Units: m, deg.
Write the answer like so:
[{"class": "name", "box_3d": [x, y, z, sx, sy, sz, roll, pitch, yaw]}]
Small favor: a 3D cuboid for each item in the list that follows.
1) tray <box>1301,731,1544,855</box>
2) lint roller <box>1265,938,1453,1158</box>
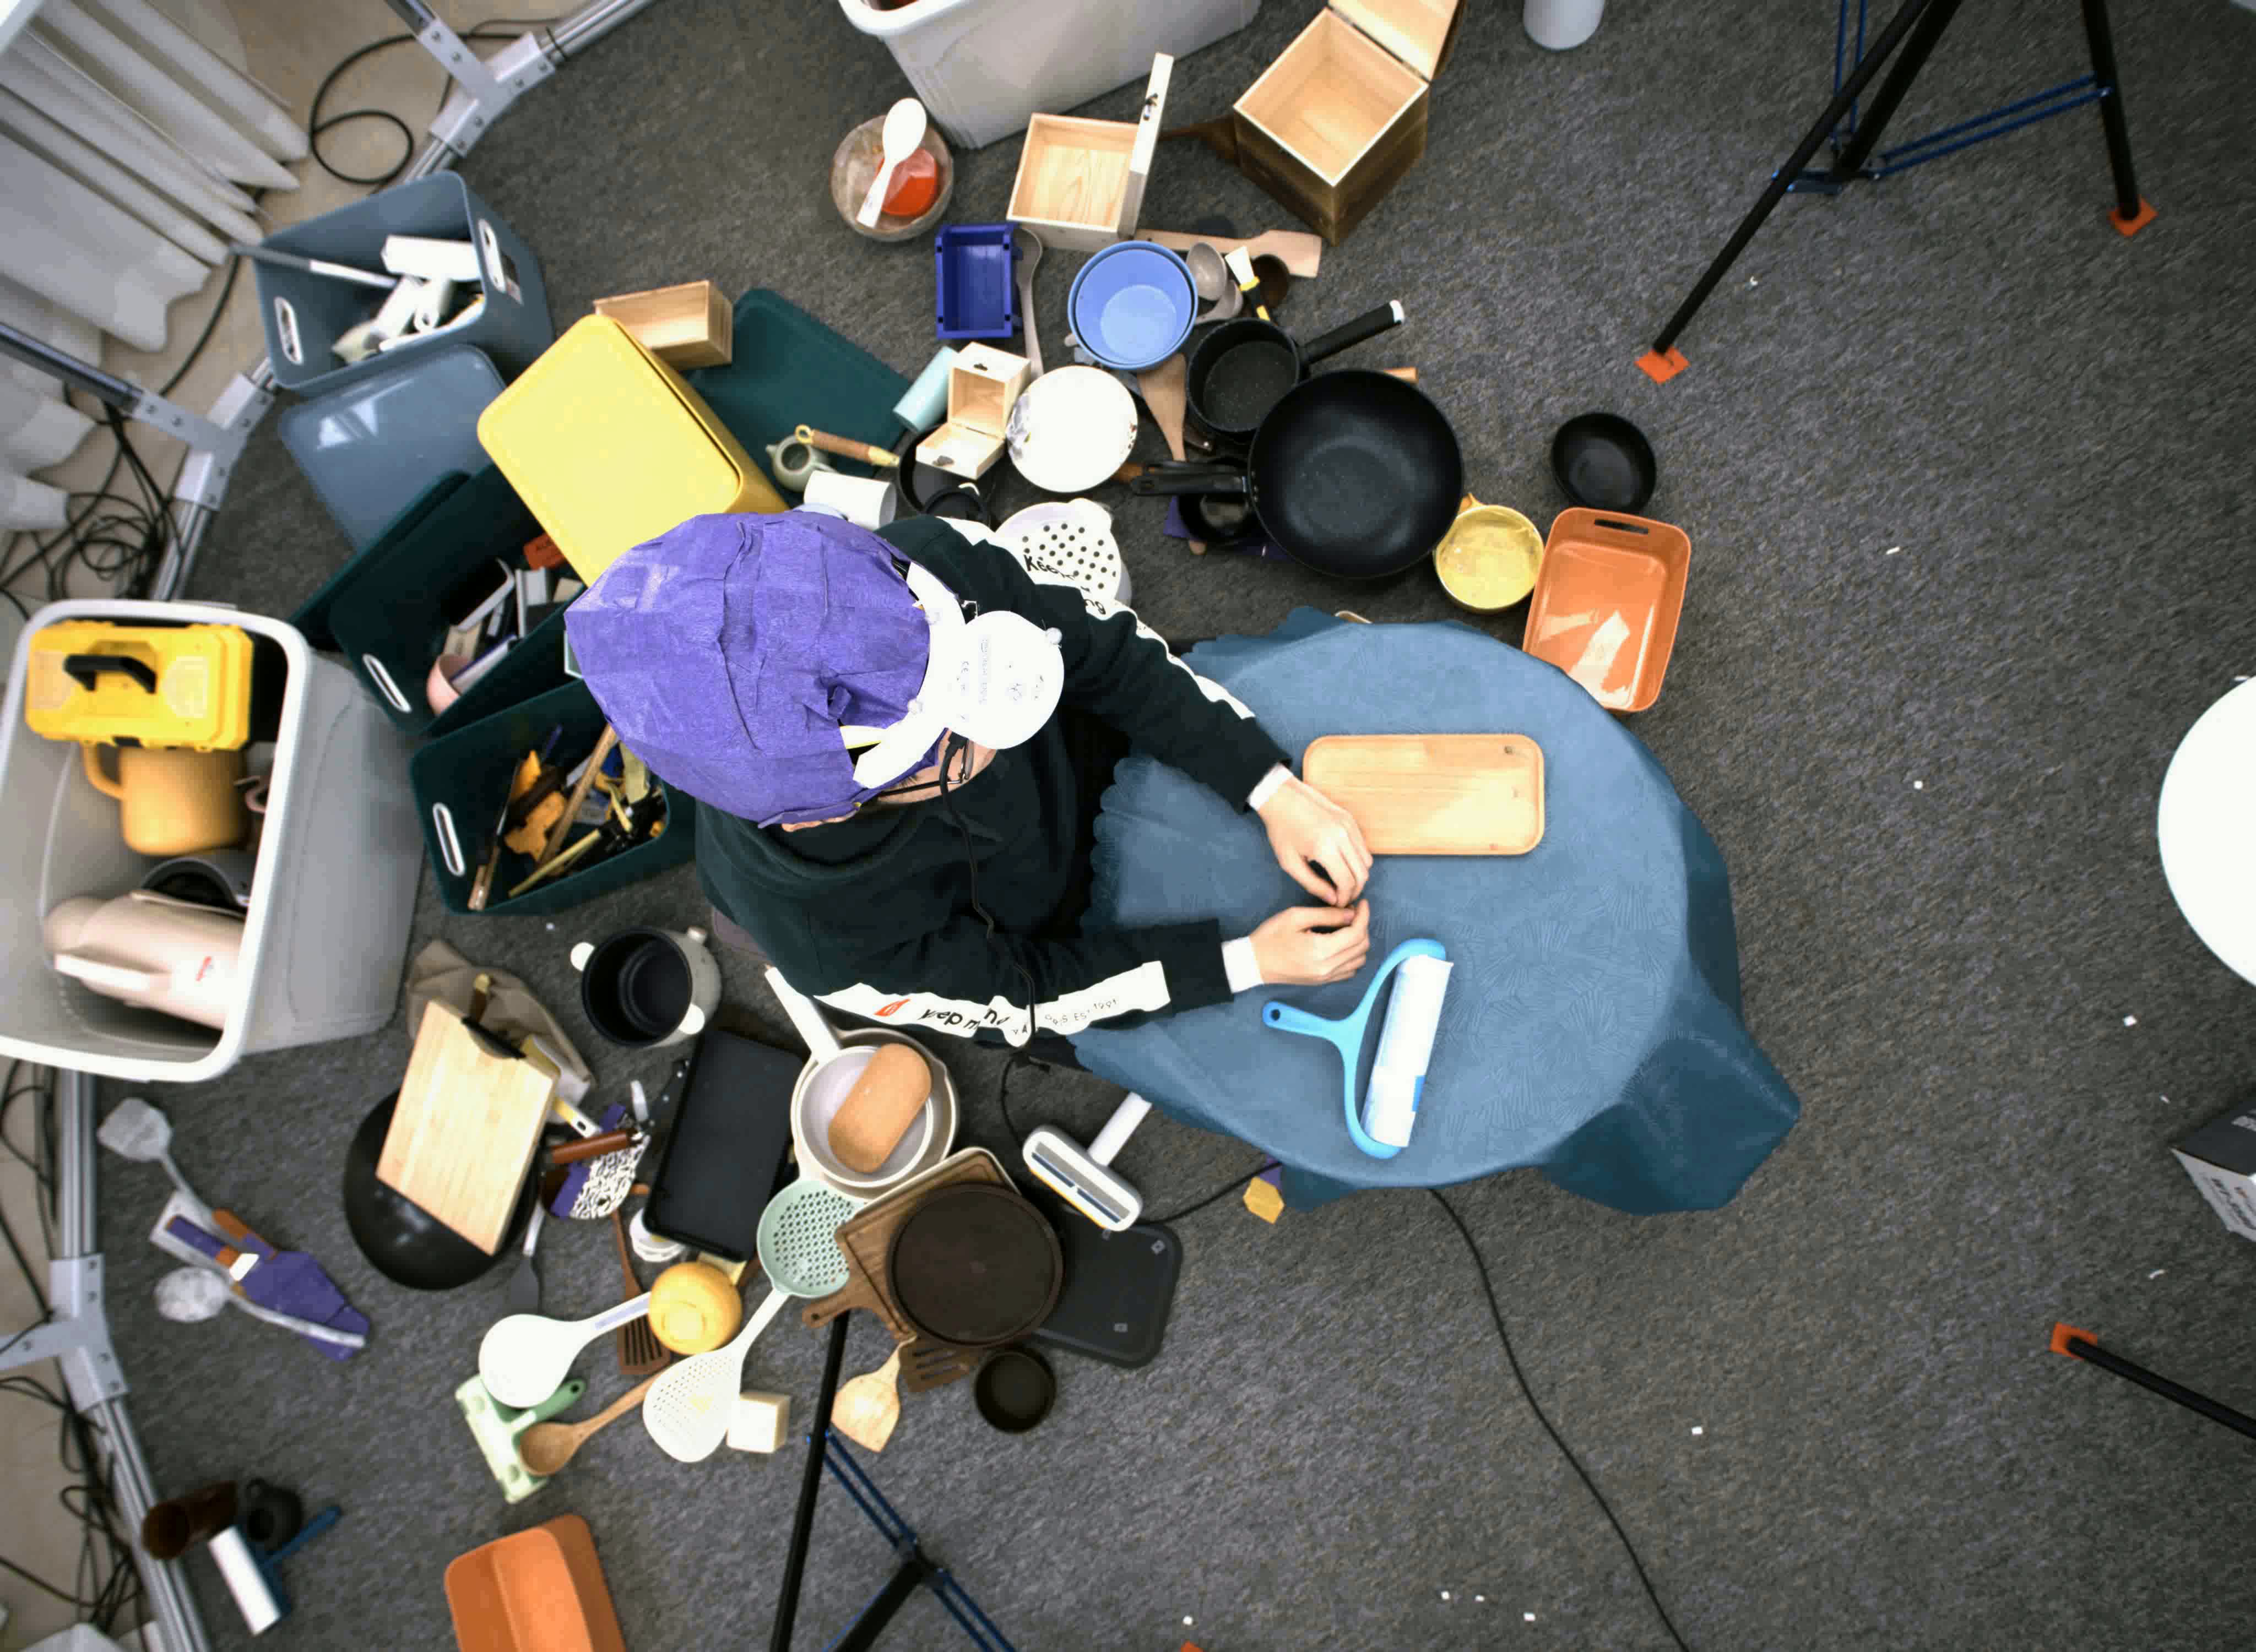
[{"class": "tray", "box_3d": [0.308, -0.036, 1.445, 0.251, 0.023, 0.130, 1, 85, 11]}, {"class": "lint roller", "box_3d": [0.228, 0.215, 1.427, 0.180, 0.068, 0.229, 11, 91, 9]}]
